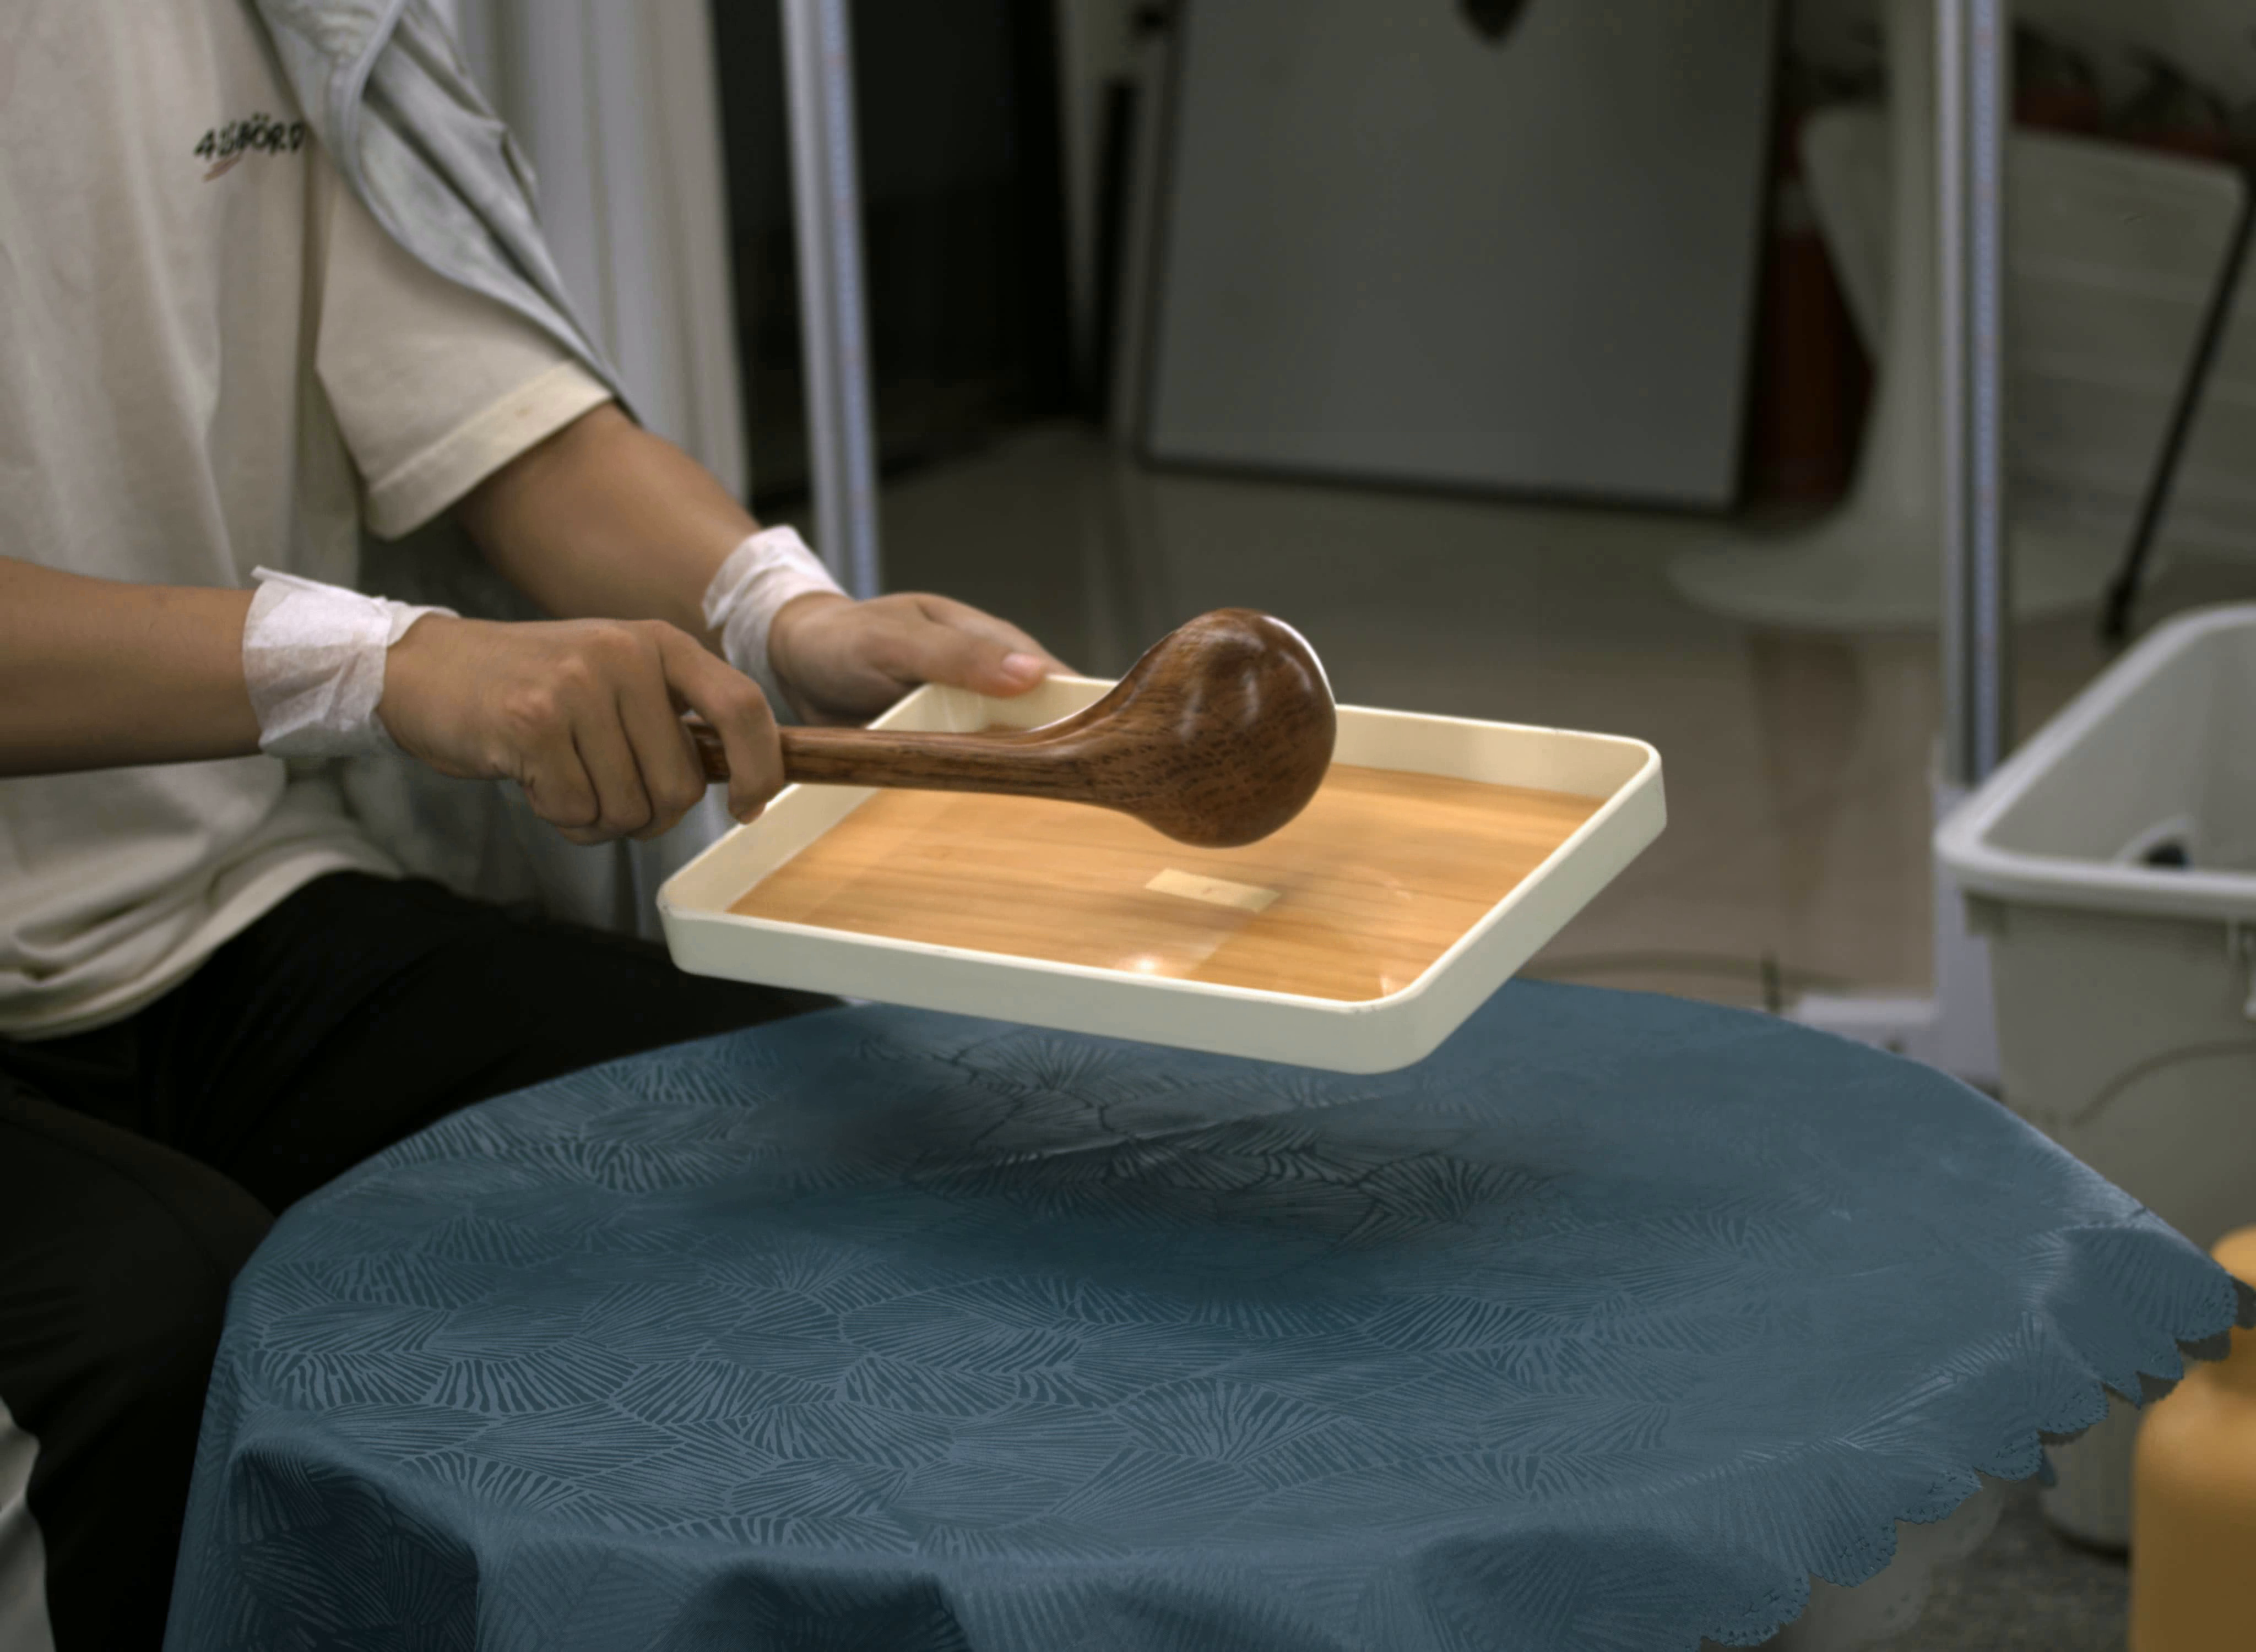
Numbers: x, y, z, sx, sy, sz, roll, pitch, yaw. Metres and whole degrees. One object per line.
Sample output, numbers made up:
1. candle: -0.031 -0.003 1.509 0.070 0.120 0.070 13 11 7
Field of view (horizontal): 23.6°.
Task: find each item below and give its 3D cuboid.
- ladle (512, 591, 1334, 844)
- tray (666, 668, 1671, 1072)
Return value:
1. ladle: -0.067 -0.032 1.784 0.274 0.083 0.076 -1 16 21
2. tray: 0.012 0.010 1.786 0.302 0.027 0.189 7 31 35
